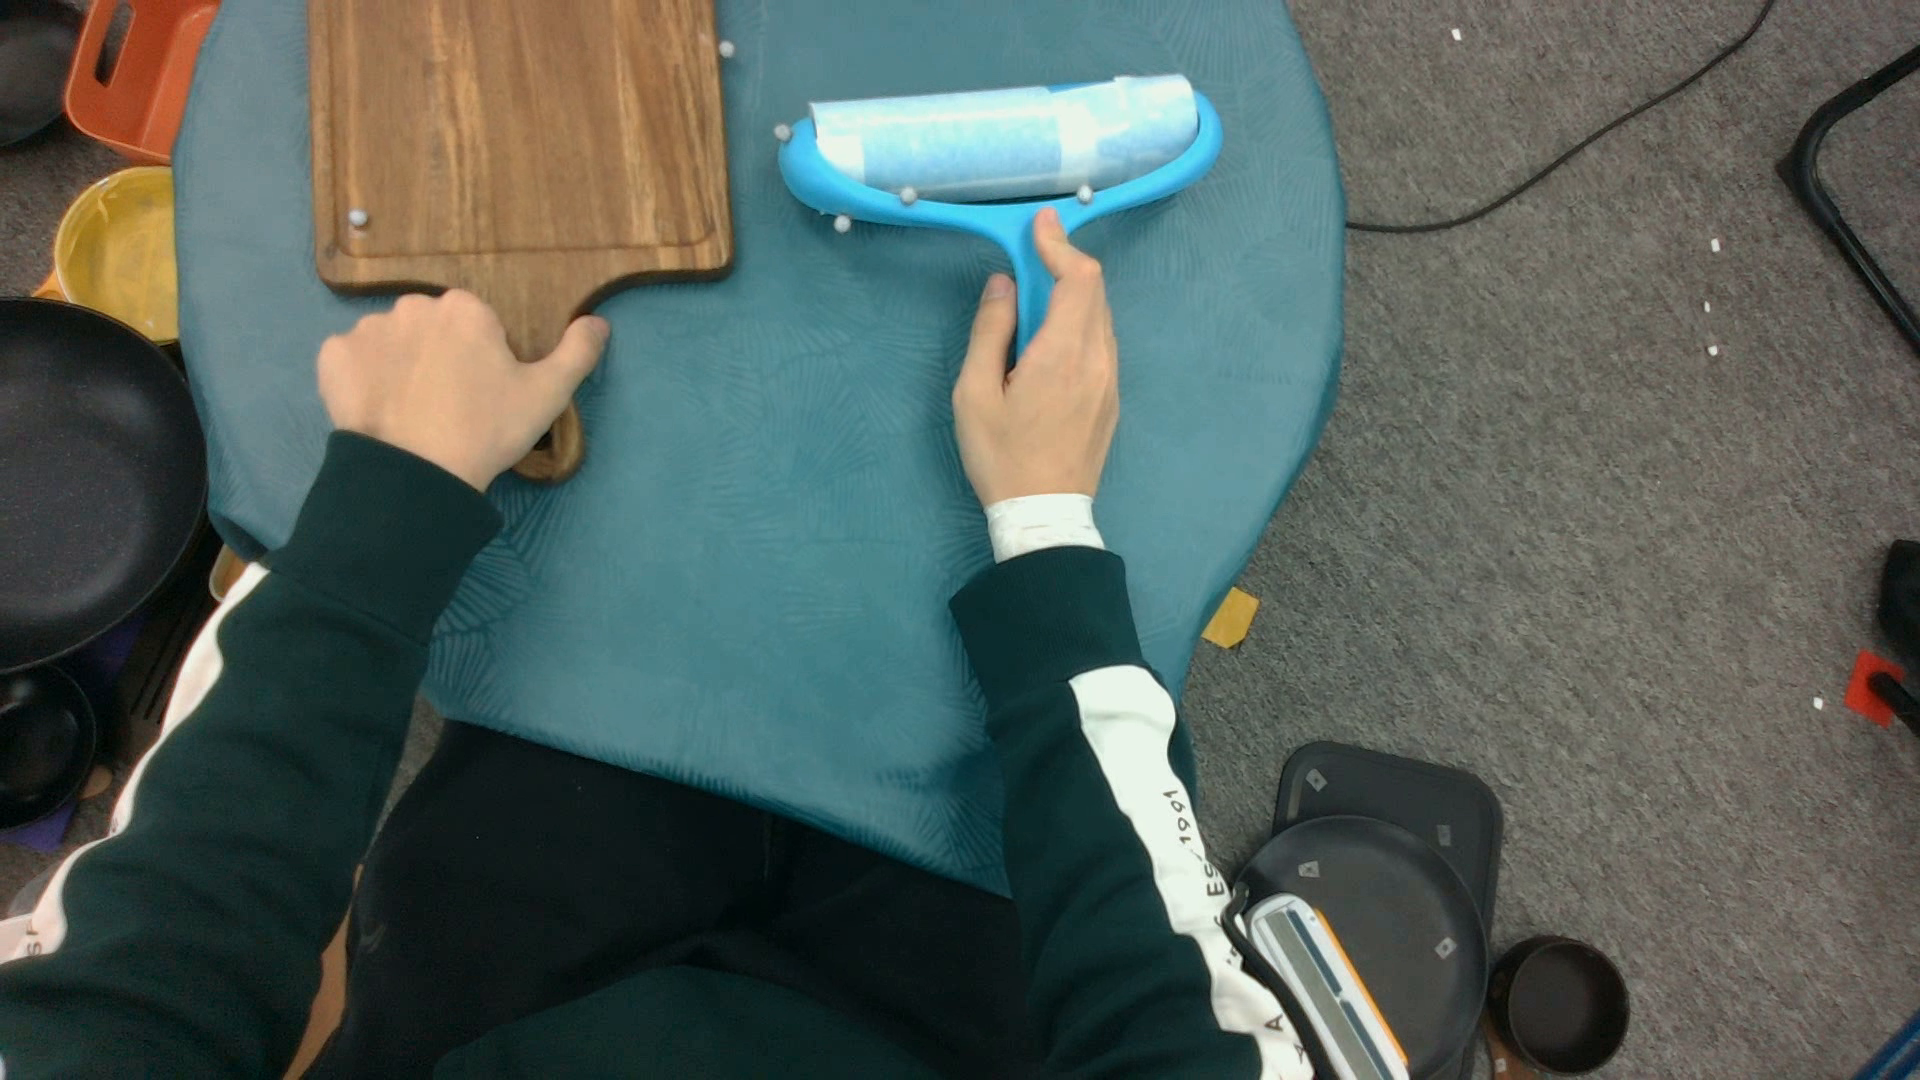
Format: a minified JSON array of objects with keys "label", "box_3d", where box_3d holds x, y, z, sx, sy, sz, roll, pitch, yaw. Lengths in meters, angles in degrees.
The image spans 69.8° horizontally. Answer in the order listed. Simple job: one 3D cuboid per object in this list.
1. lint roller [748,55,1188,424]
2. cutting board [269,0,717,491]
[{"label":"lint roller","box_3d":[0.020,-0.153,0.699,0.229,0.068,0.180,-12,82,-12]},{"label":"cutting board","box_3d":[-0.230,-0.197,0.685,0.201,0.023,0.352,-7,81,-9]}]
